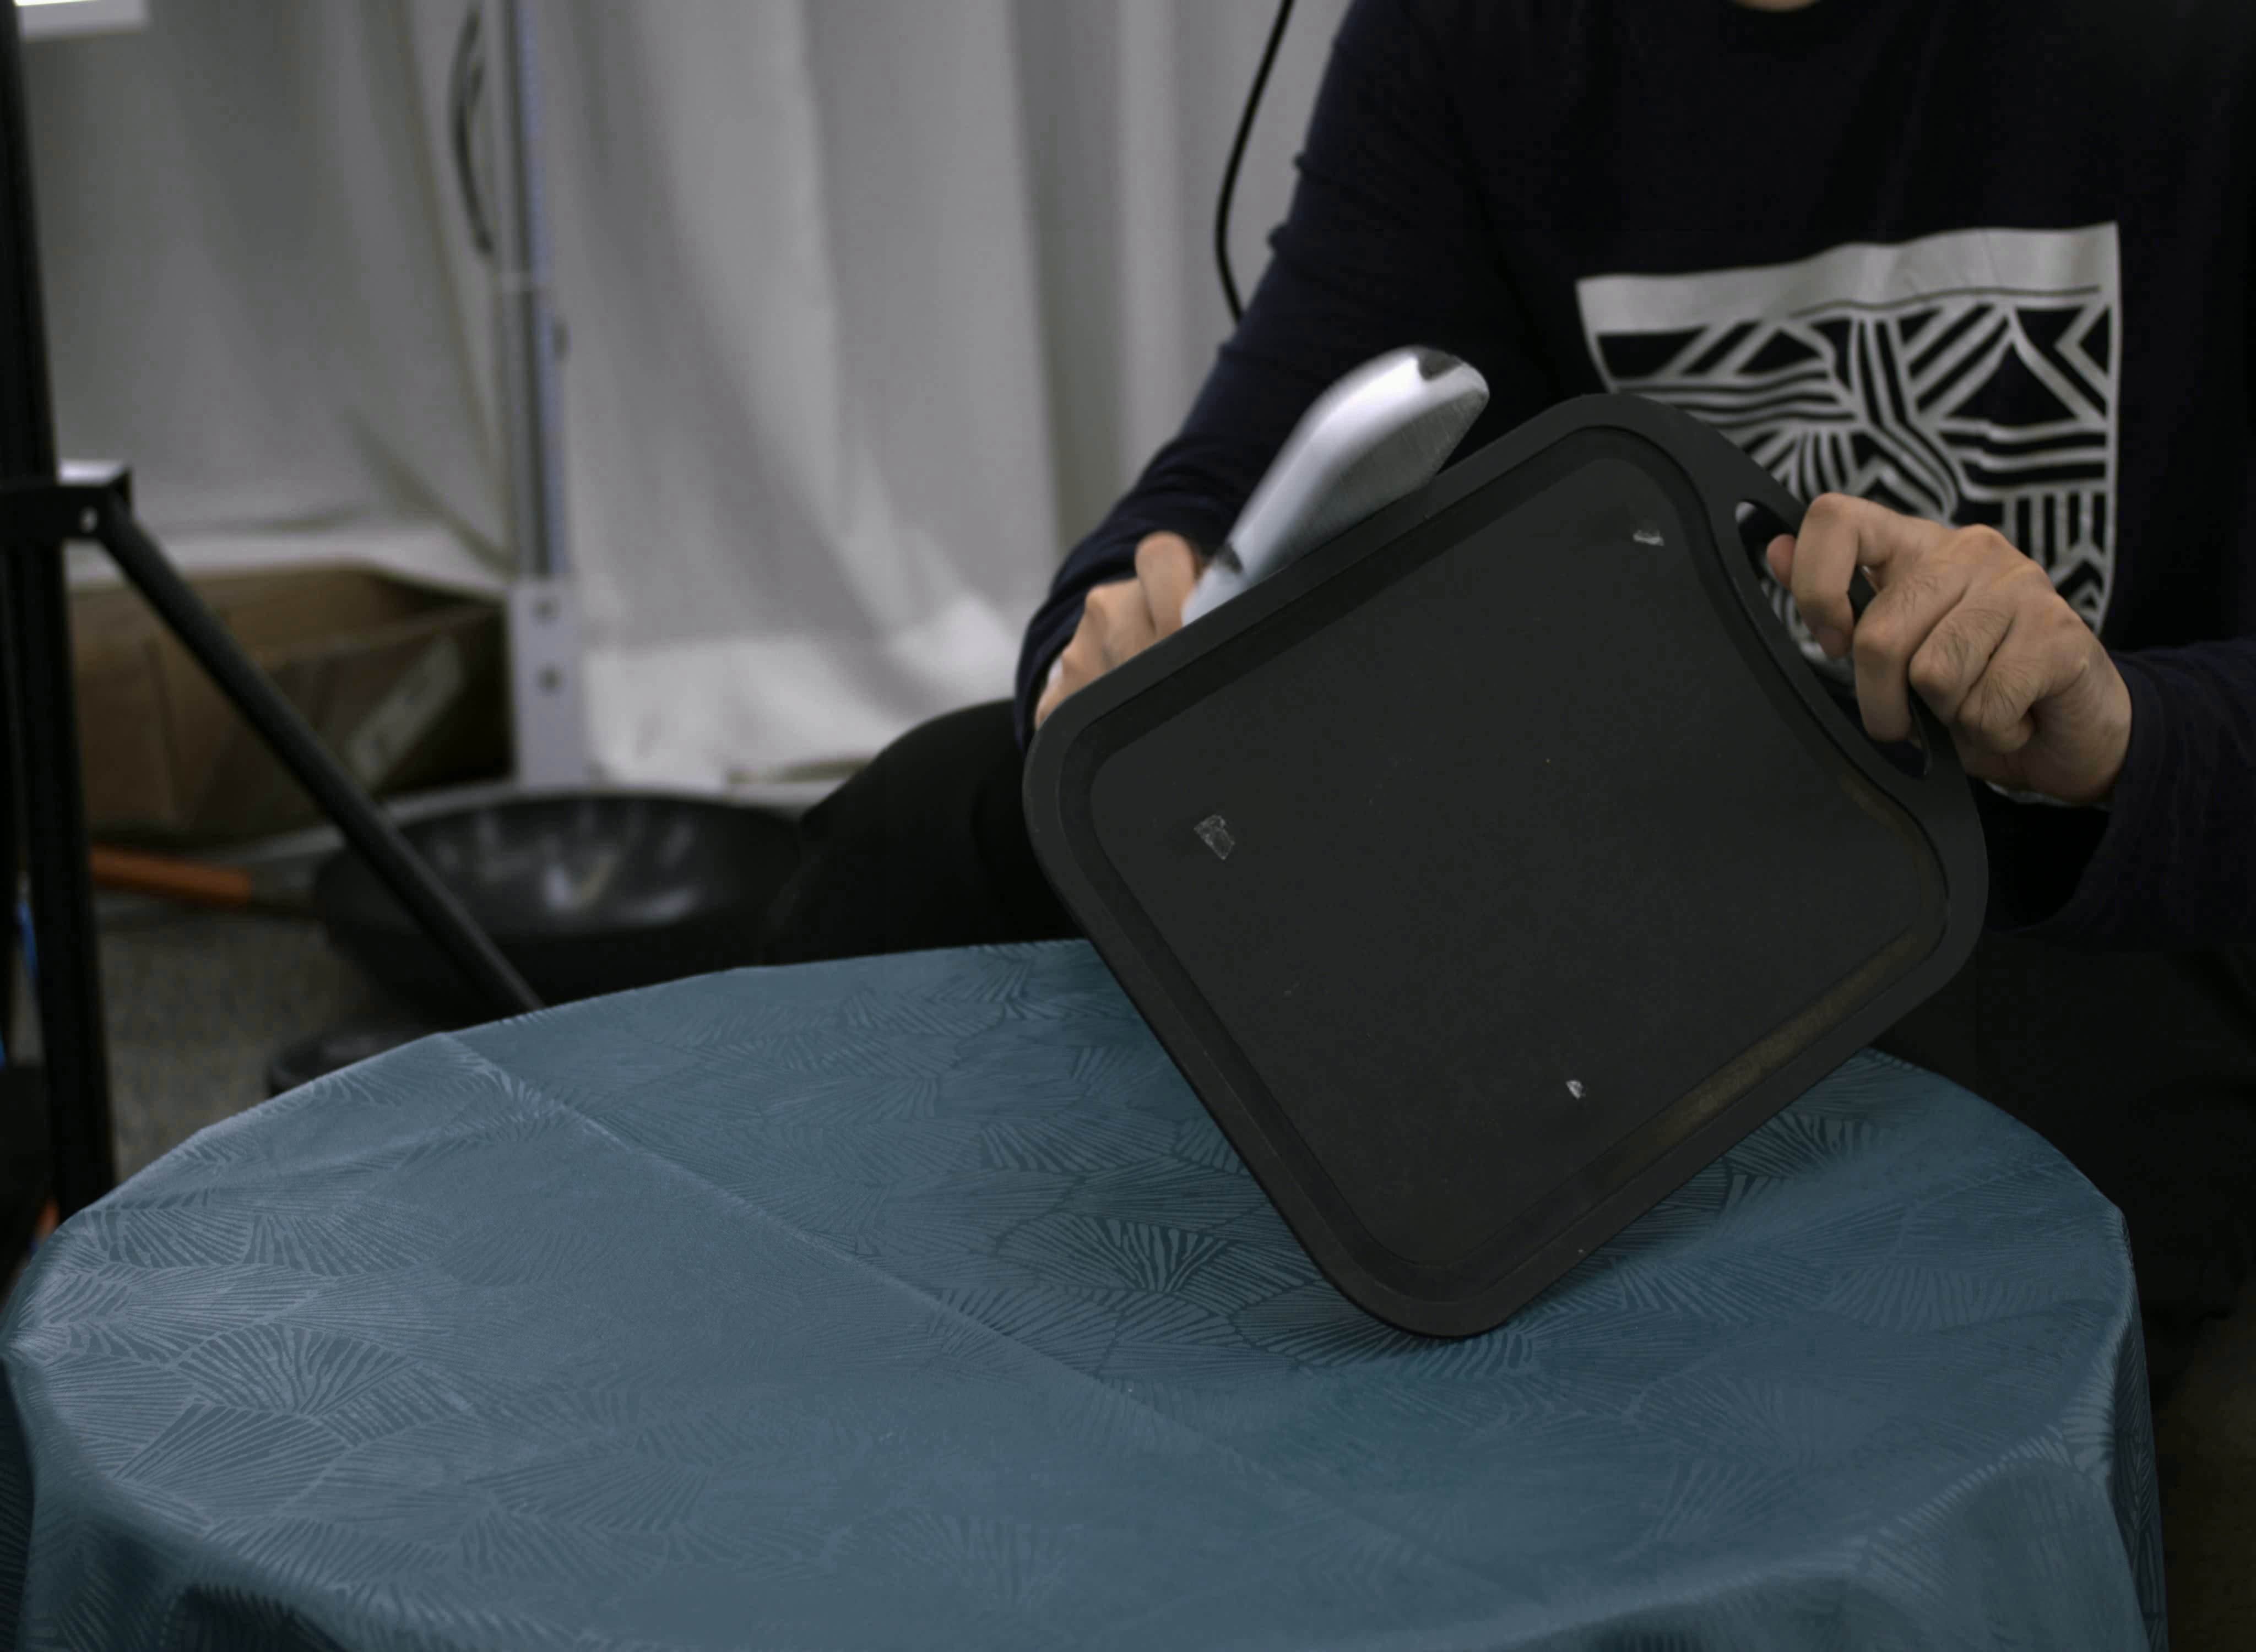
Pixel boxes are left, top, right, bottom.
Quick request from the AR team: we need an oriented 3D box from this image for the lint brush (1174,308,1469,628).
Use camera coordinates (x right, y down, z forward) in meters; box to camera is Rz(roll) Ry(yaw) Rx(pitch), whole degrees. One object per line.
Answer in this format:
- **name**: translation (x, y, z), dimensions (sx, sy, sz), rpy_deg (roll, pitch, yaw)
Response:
- **lint brush**: translation (0.041, -0.077, 1.625), dimensions (0.059, 0.021, 0.310), rpy_deg (-28, -13, -24)

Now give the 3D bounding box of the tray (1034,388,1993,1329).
- **tray**: translation (0.123, -0.002, 1.525), dimensions (0.319, 0.212, 0.010), rpy_deg (-30, -7, -37)
